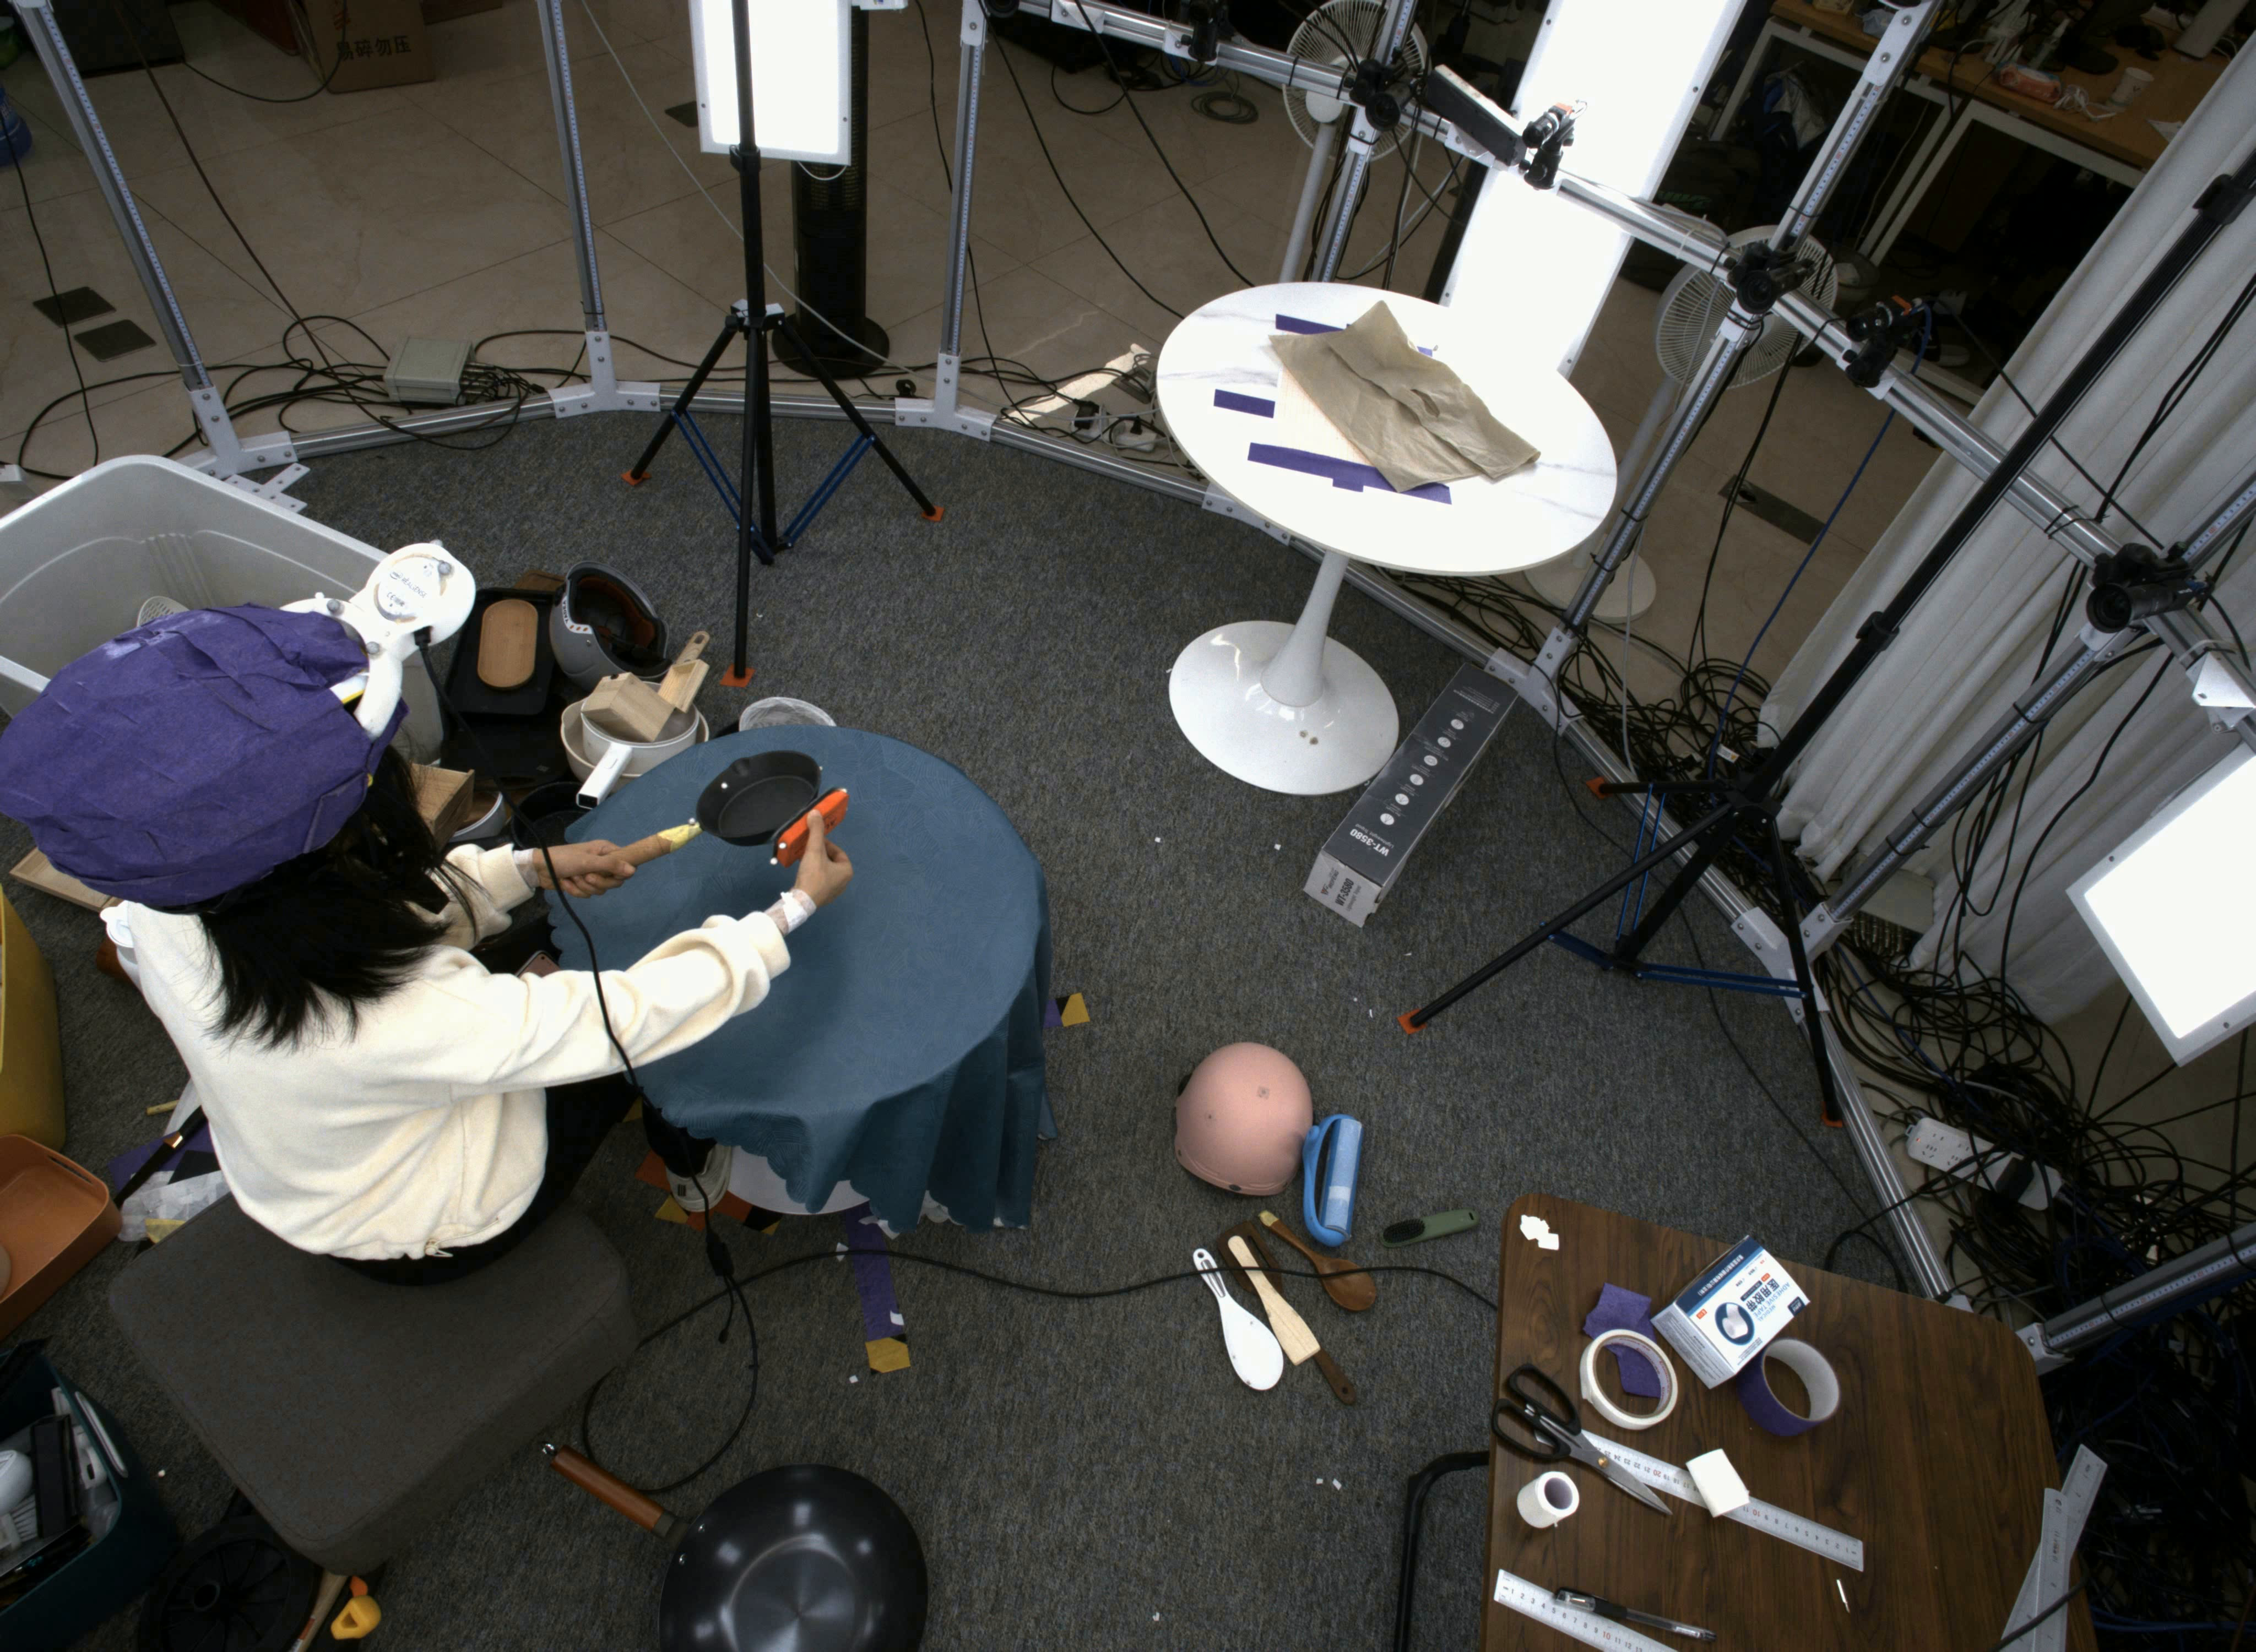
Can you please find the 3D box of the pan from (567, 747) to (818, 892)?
[{"bbox_3d":[-0.516,0.000,1.527,0.324,0.051,0.162,-28,44,-17],"label":"pan"}]

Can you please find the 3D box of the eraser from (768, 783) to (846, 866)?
[{"bbox_3d":[-0.379,-0.004,1.532,0.022,0.060,0.108,37,50,8],"label":"eraser"}]
